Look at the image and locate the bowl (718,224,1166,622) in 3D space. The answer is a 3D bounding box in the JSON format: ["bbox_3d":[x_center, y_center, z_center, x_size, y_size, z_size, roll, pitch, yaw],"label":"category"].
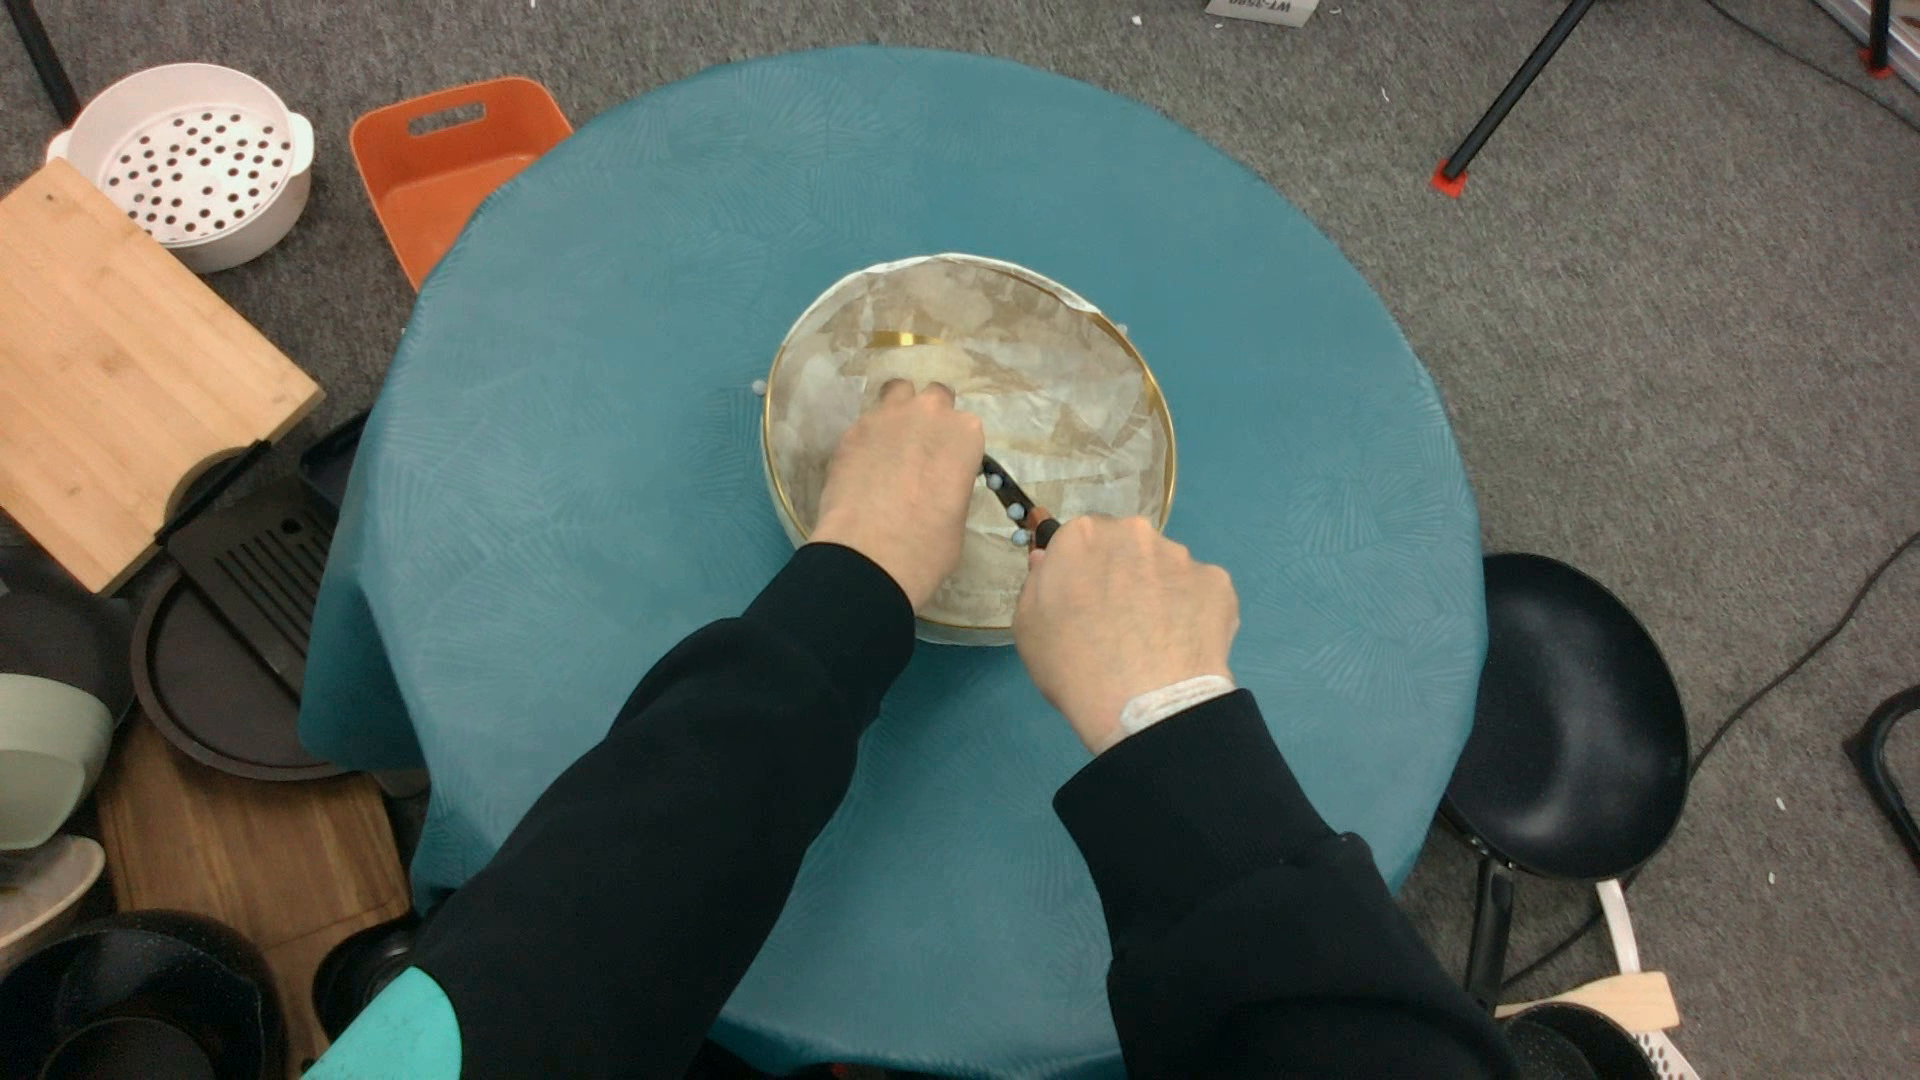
[{"bbox_3d":[-0.012,-0.043,0.678,0.215,0.094,0.215,6,64,-13],"label":"bowl"}]

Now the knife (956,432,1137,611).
[{"bbox_3d":[0.031,-0.019,0.639,0.017,0.026,0.226,-18,26,-11],"label":"knife"}]
